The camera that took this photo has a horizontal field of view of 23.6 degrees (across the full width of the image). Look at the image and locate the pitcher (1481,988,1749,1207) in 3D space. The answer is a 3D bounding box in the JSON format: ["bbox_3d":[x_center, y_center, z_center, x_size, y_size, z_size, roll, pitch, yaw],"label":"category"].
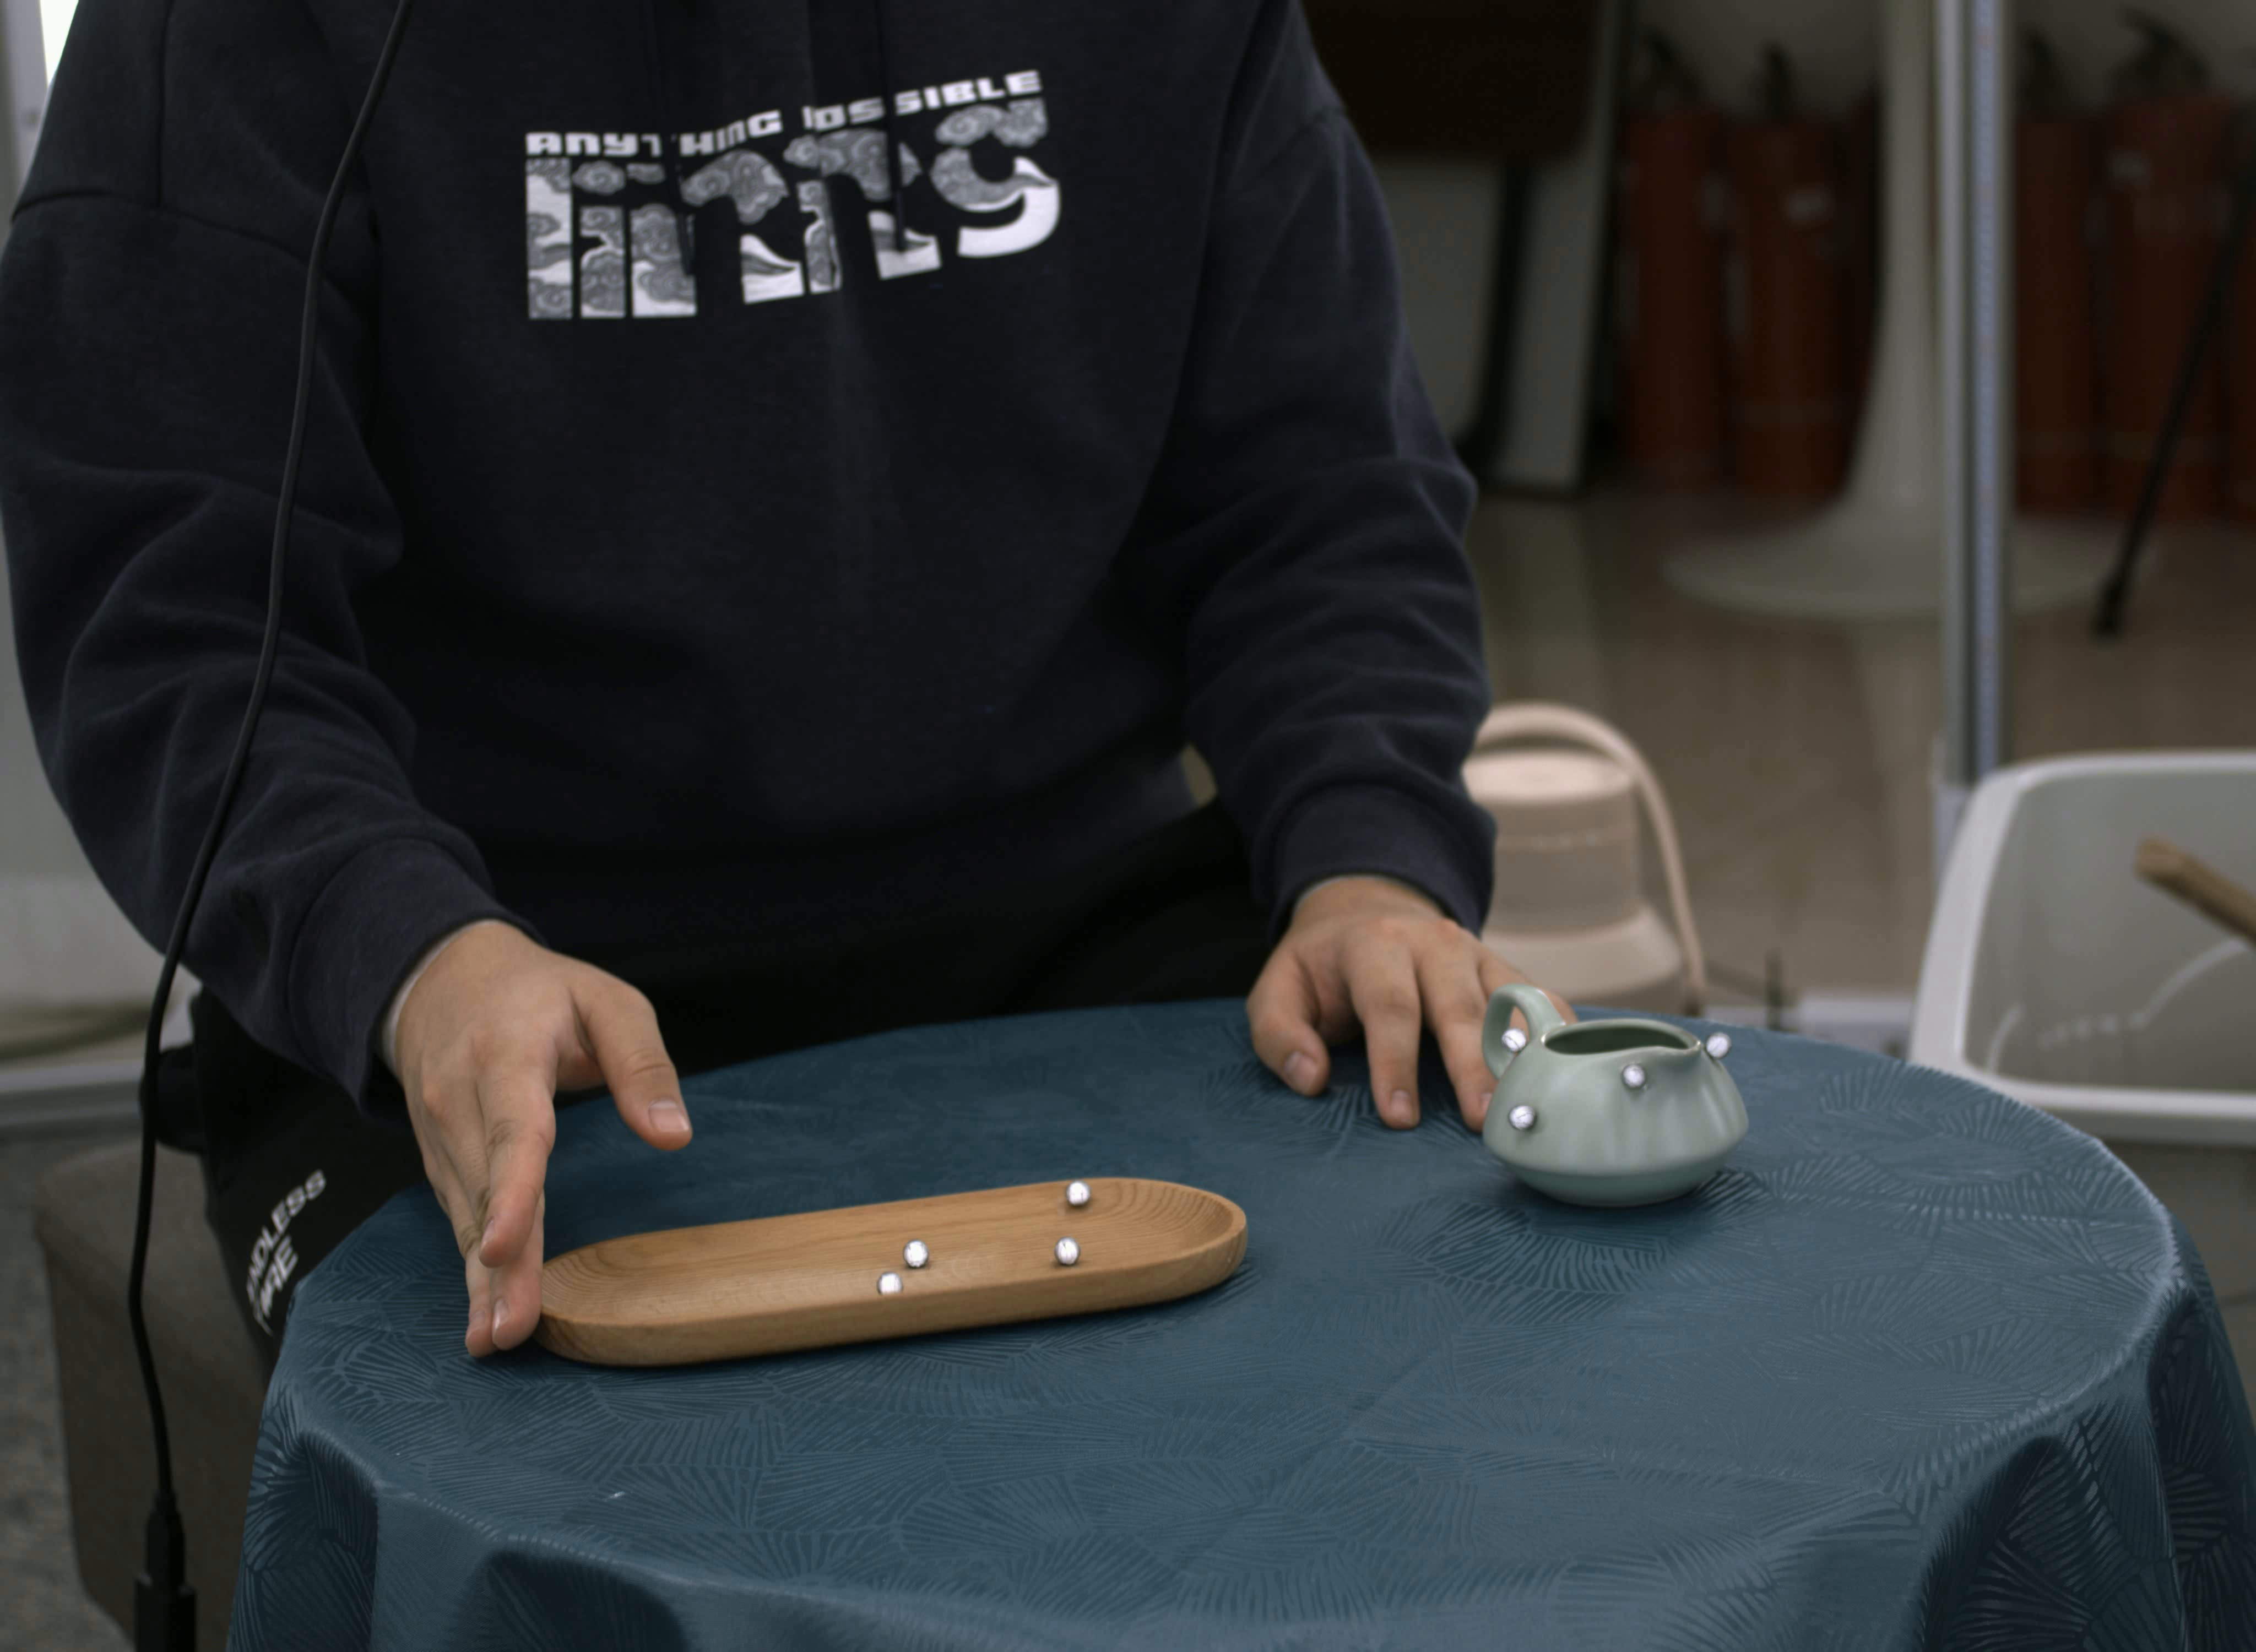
[{"bbox_3d":[0.151,0.088,1.750,0.084,0.061,0.109,-12,13,-34],"label":"pitcher"}]

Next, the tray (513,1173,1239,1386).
[{"bbox_3d":[-0.077,0.141,1.681,0.227,0.020,0.102,-9,15,-11],"label":"tray"}]
